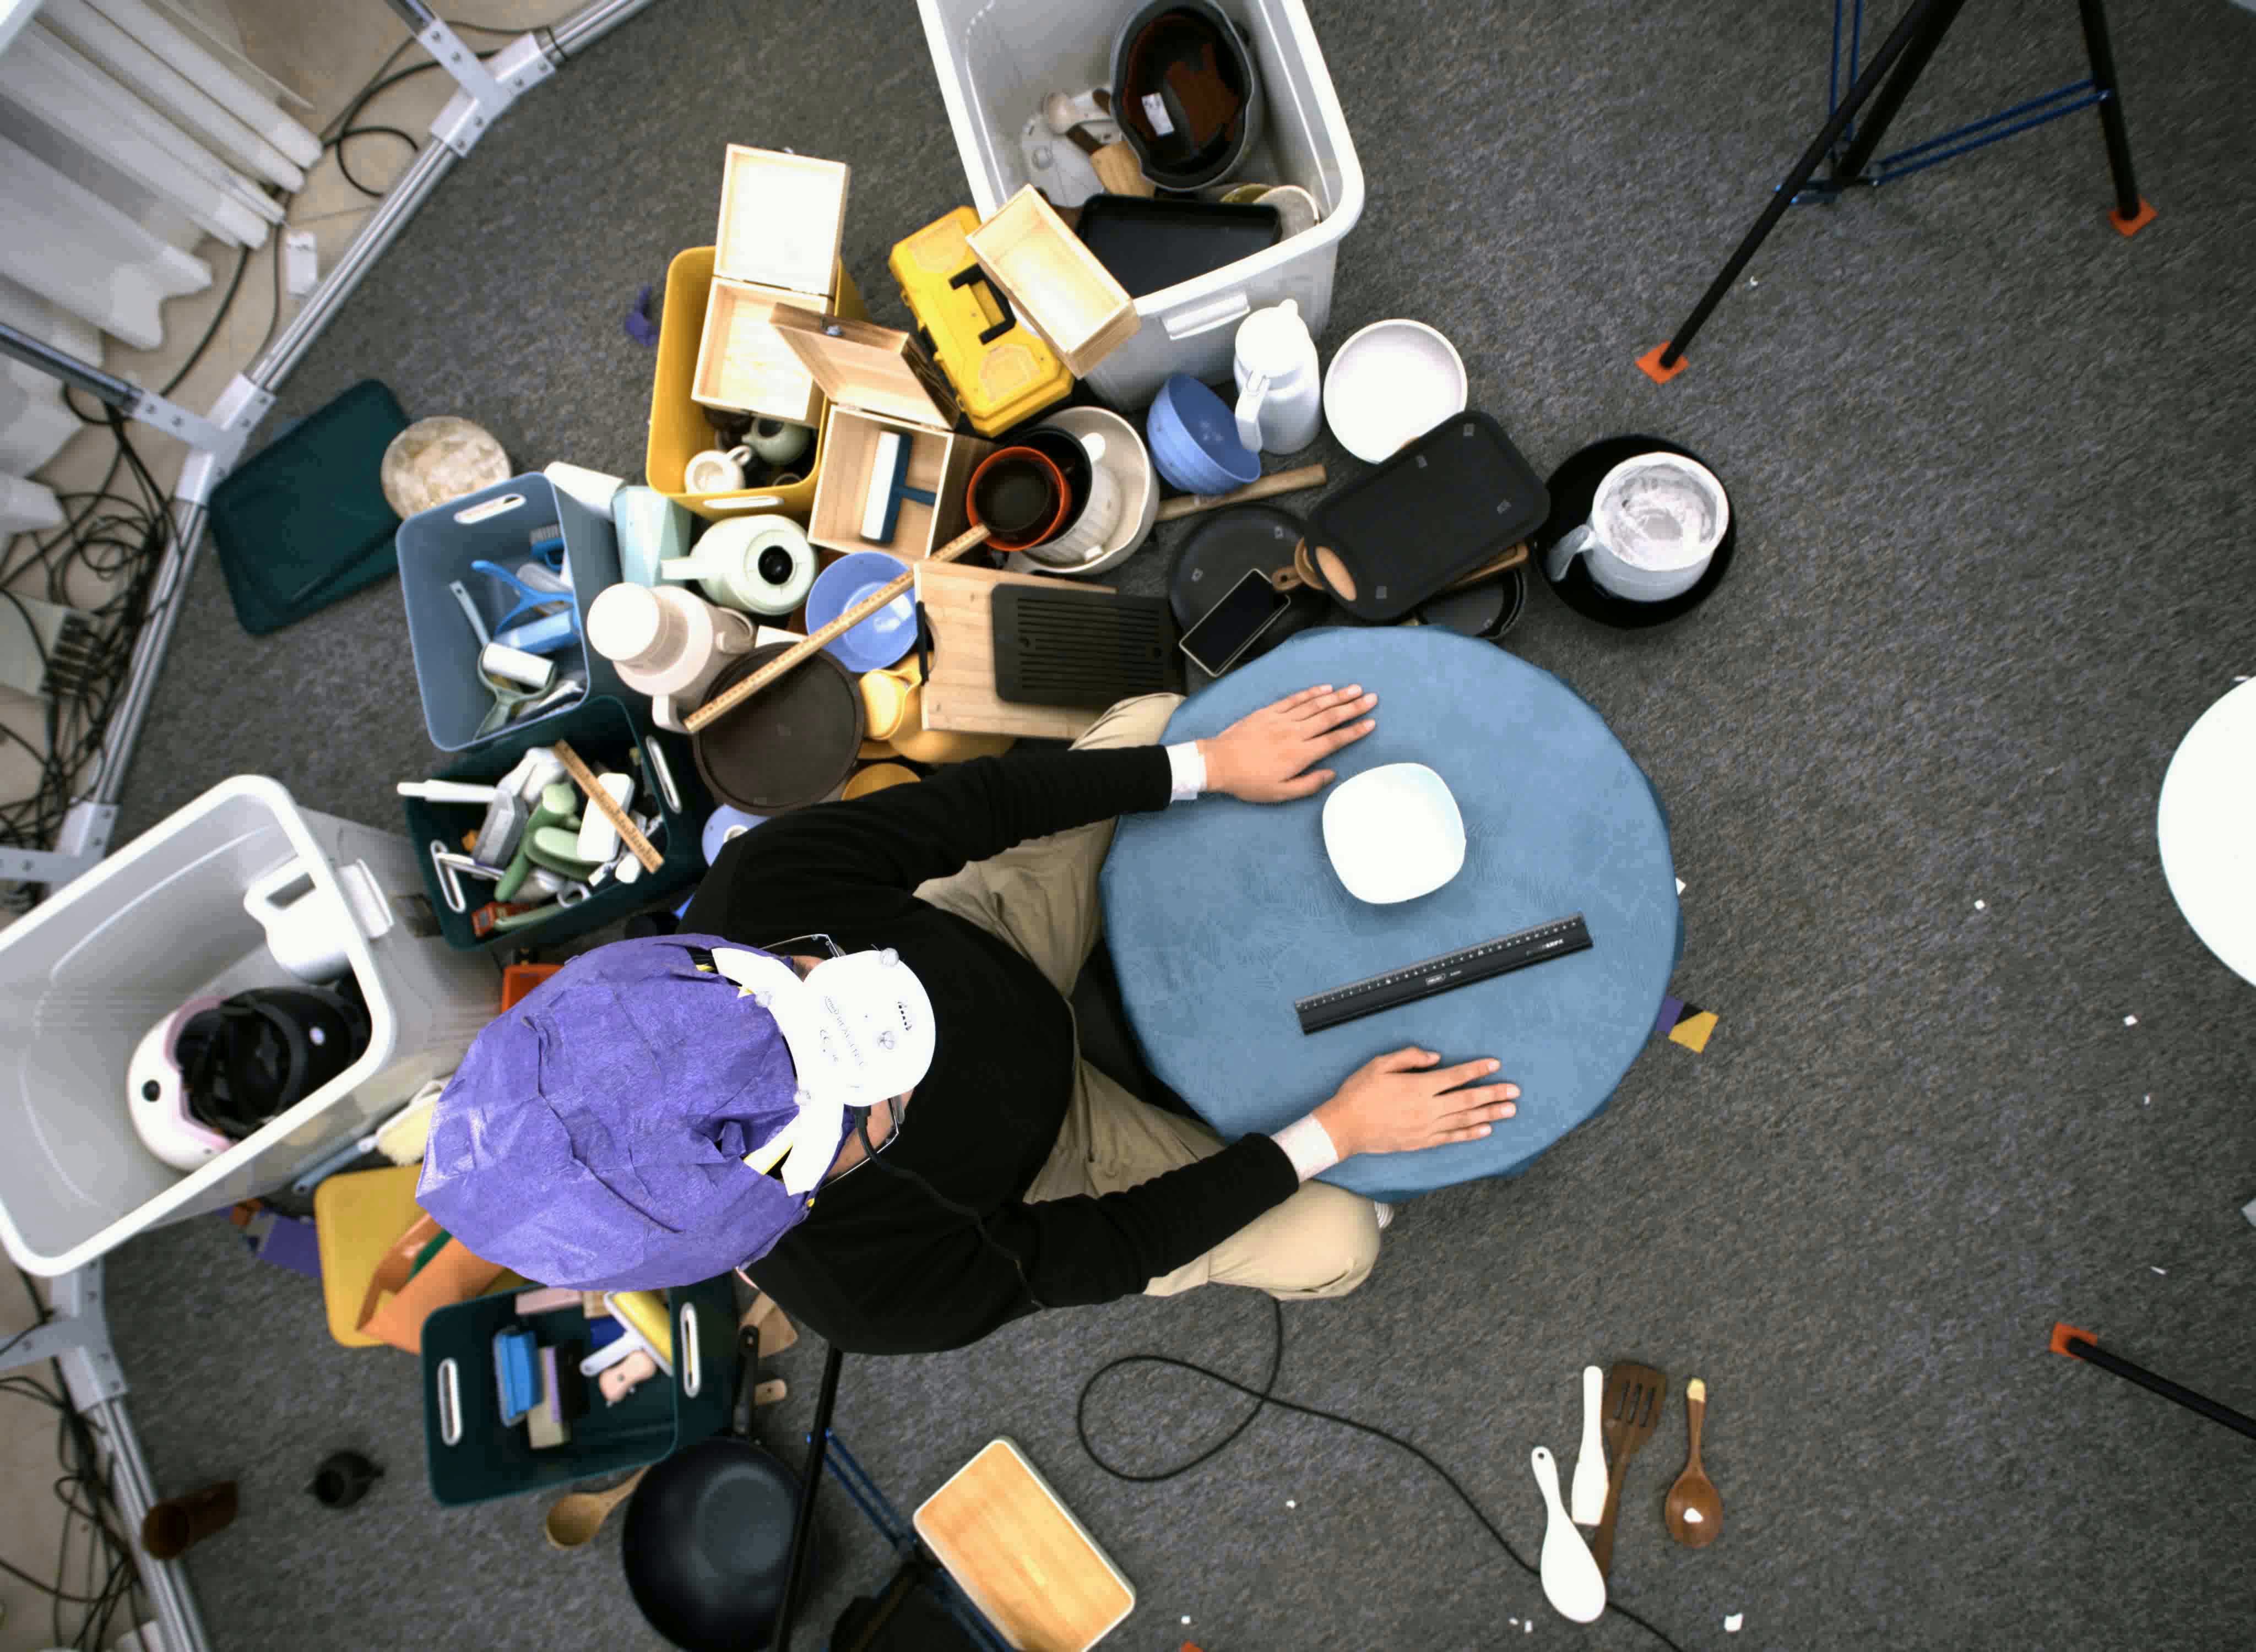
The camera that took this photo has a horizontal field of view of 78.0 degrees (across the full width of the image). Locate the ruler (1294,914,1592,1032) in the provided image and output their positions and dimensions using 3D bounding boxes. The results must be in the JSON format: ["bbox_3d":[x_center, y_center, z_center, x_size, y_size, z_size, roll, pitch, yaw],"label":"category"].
[{"bbox_3d":[0.327,0.151,1.437,0.314,0.017,0.039,-18,80,9],"label":"ruler"}]

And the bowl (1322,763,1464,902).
[{"bbox_3d":[0.274,0.008,1.435,0.152,0.059,0.151,-1,87,8],"label":"bowl"}]
